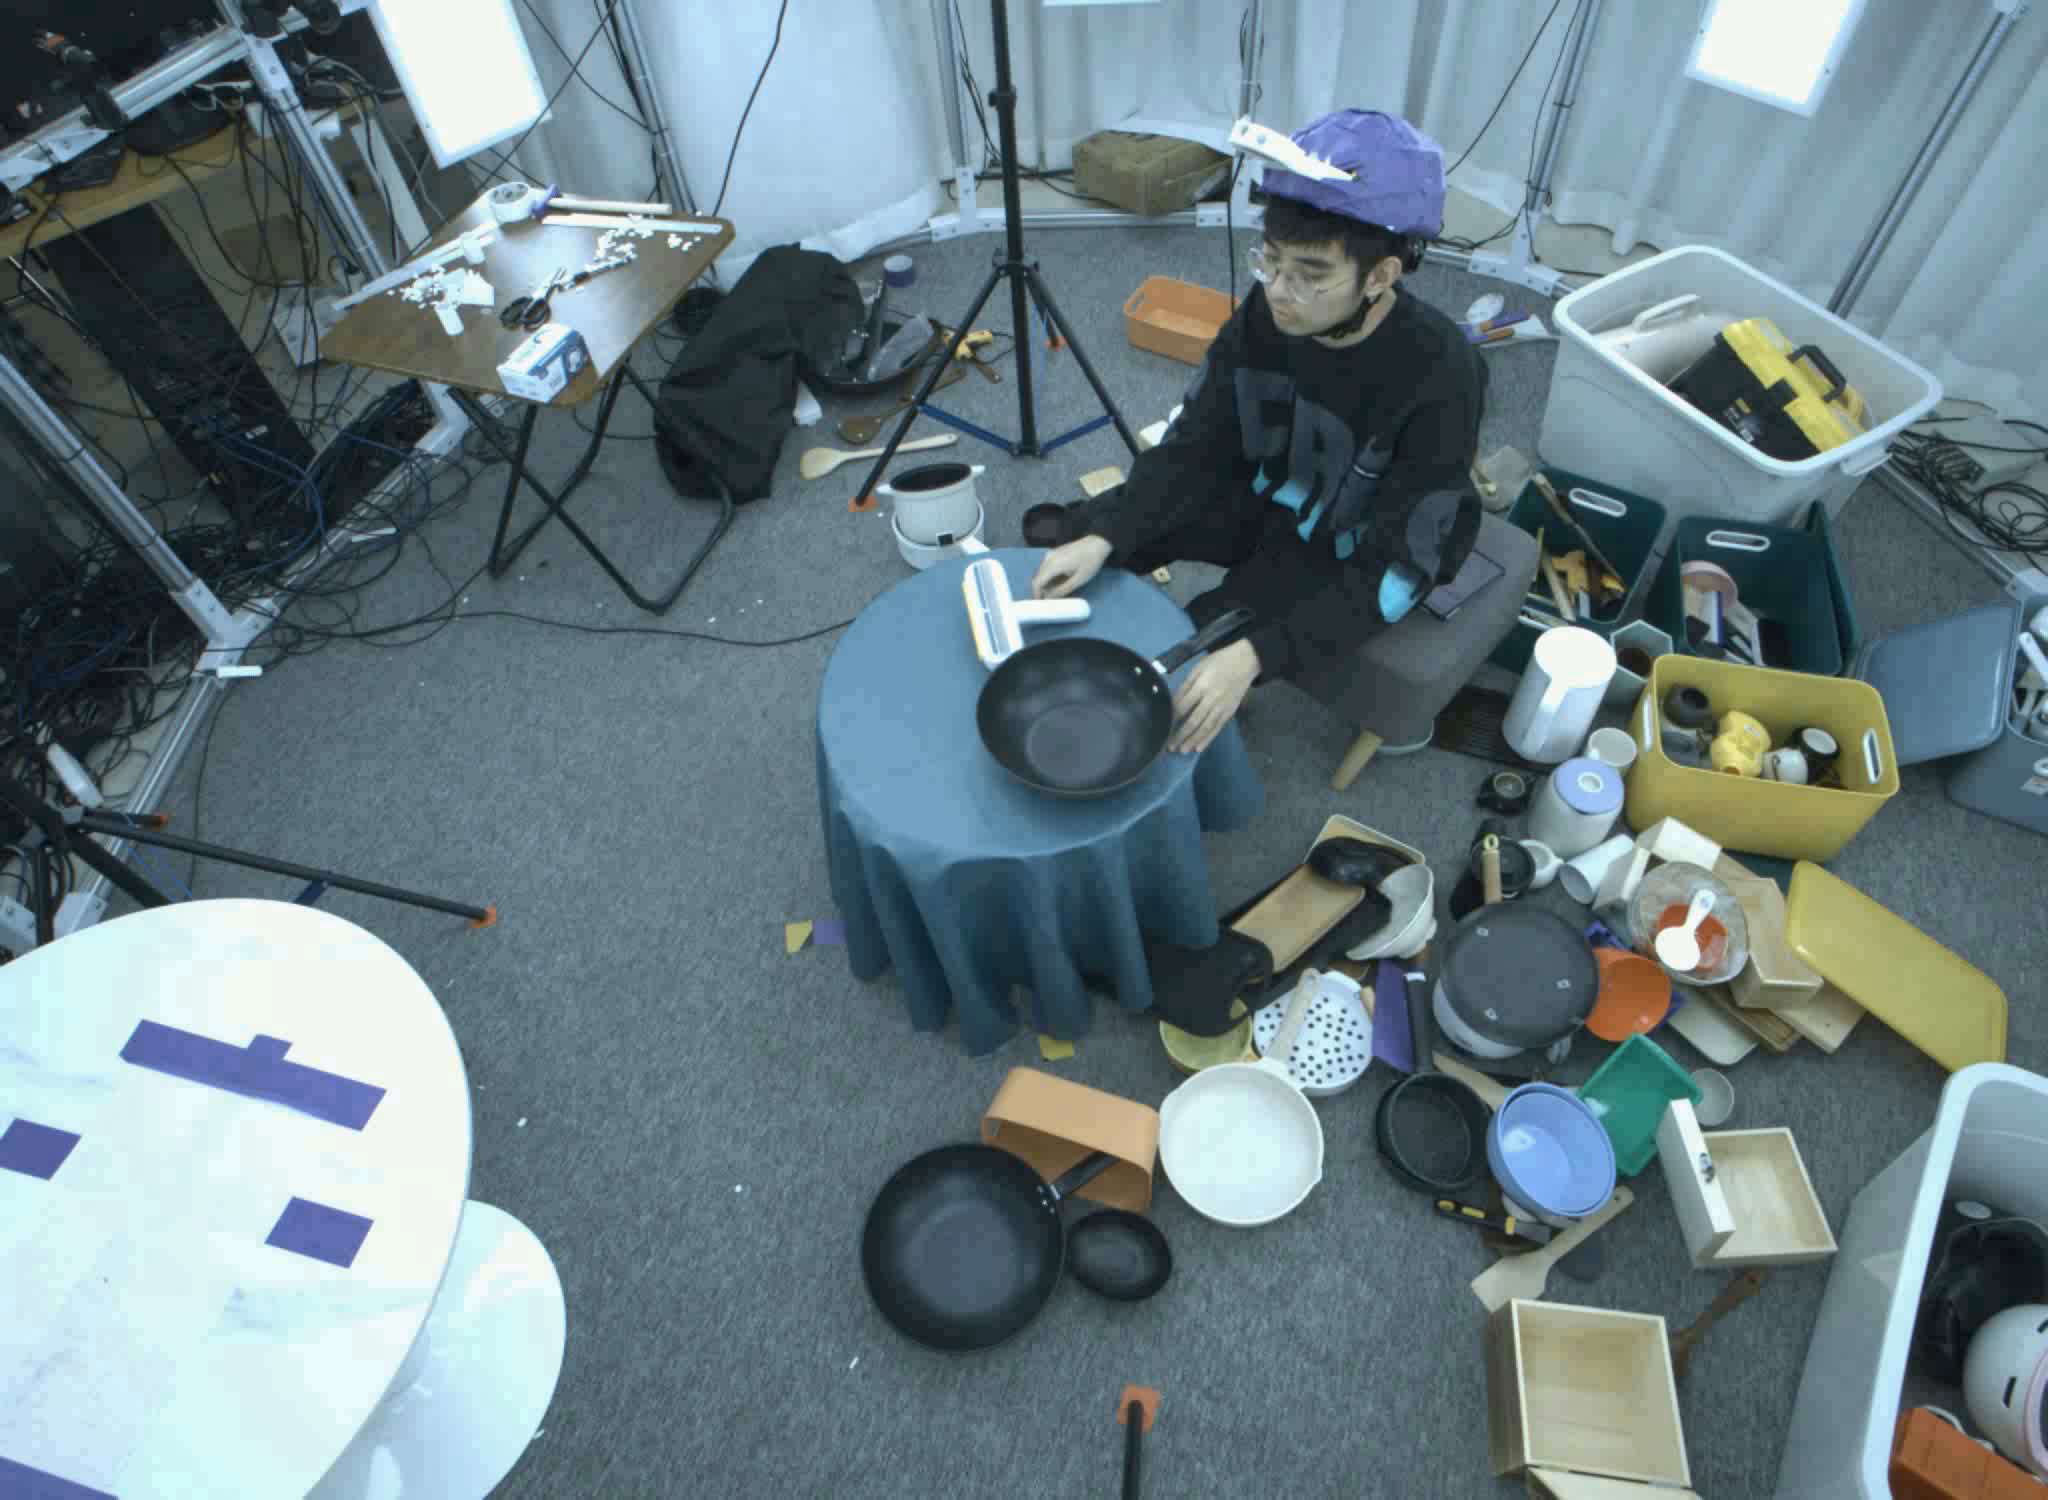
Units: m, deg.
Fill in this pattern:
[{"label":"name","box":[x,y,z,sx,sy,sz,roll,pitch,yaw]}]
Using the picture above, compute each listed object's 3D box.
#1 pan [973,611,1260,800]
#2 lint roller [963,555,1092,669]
[{"label":"pan","box":[0.147,-0.077,1.781,0.467,0.088,0.282,-30,59,-18]},{"label":"lint roller","box":[0.010,-0.216,1.895,0.193,0.075,0.190,-8,60,-6]}]
